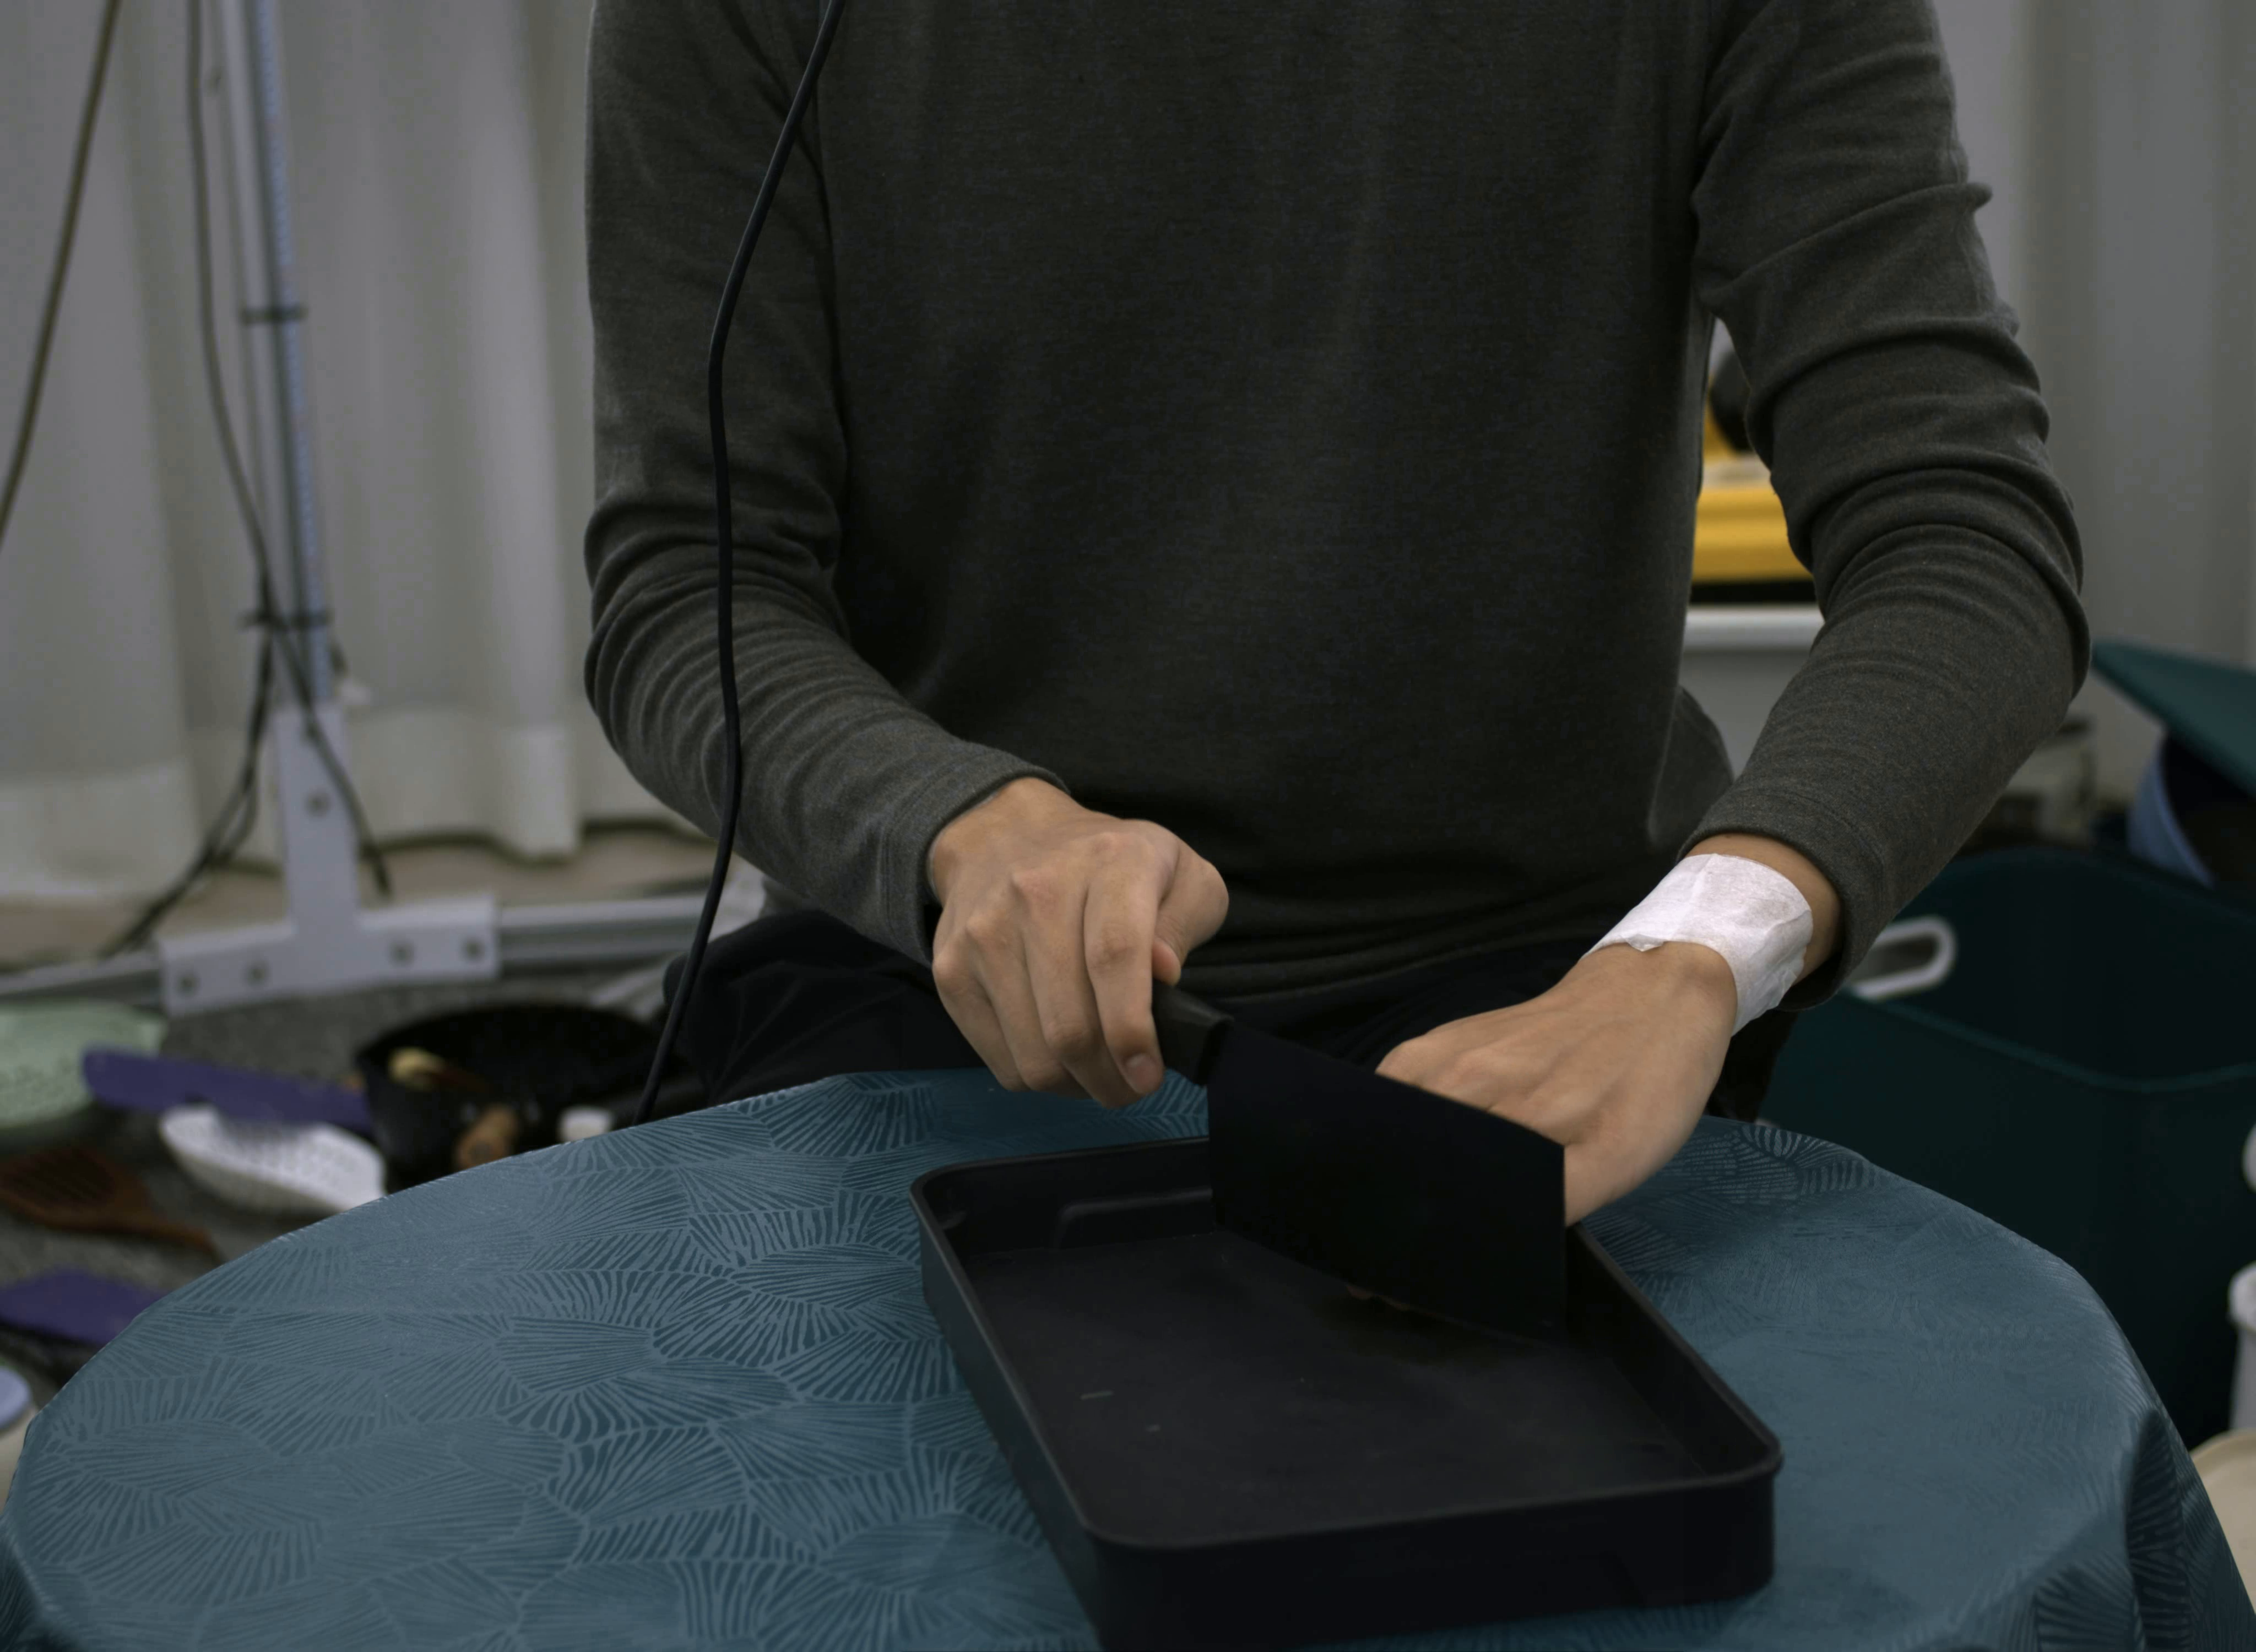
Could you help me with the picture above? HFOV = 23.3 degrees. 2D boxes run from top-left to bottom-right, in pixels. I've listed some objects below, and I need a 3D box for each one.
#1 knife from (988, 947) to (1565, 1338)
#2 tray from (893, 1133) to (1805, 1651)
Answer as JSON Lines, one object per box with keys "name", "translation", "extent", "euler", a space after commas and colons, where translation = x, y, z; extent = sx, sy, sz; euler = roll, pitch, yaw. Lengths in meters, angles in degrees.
{"name": "knife", "translation": [0.040, 0.086, 1.600], "extent": [0.021, 0.080, 0.305], "euler": [-7, 16, -30]}
{"name": "tray", "translation": [0.052, 0.149, 1.506], "extent": [0.183, 0.037, 0.320], "euler": [-6, 15, -12]}
